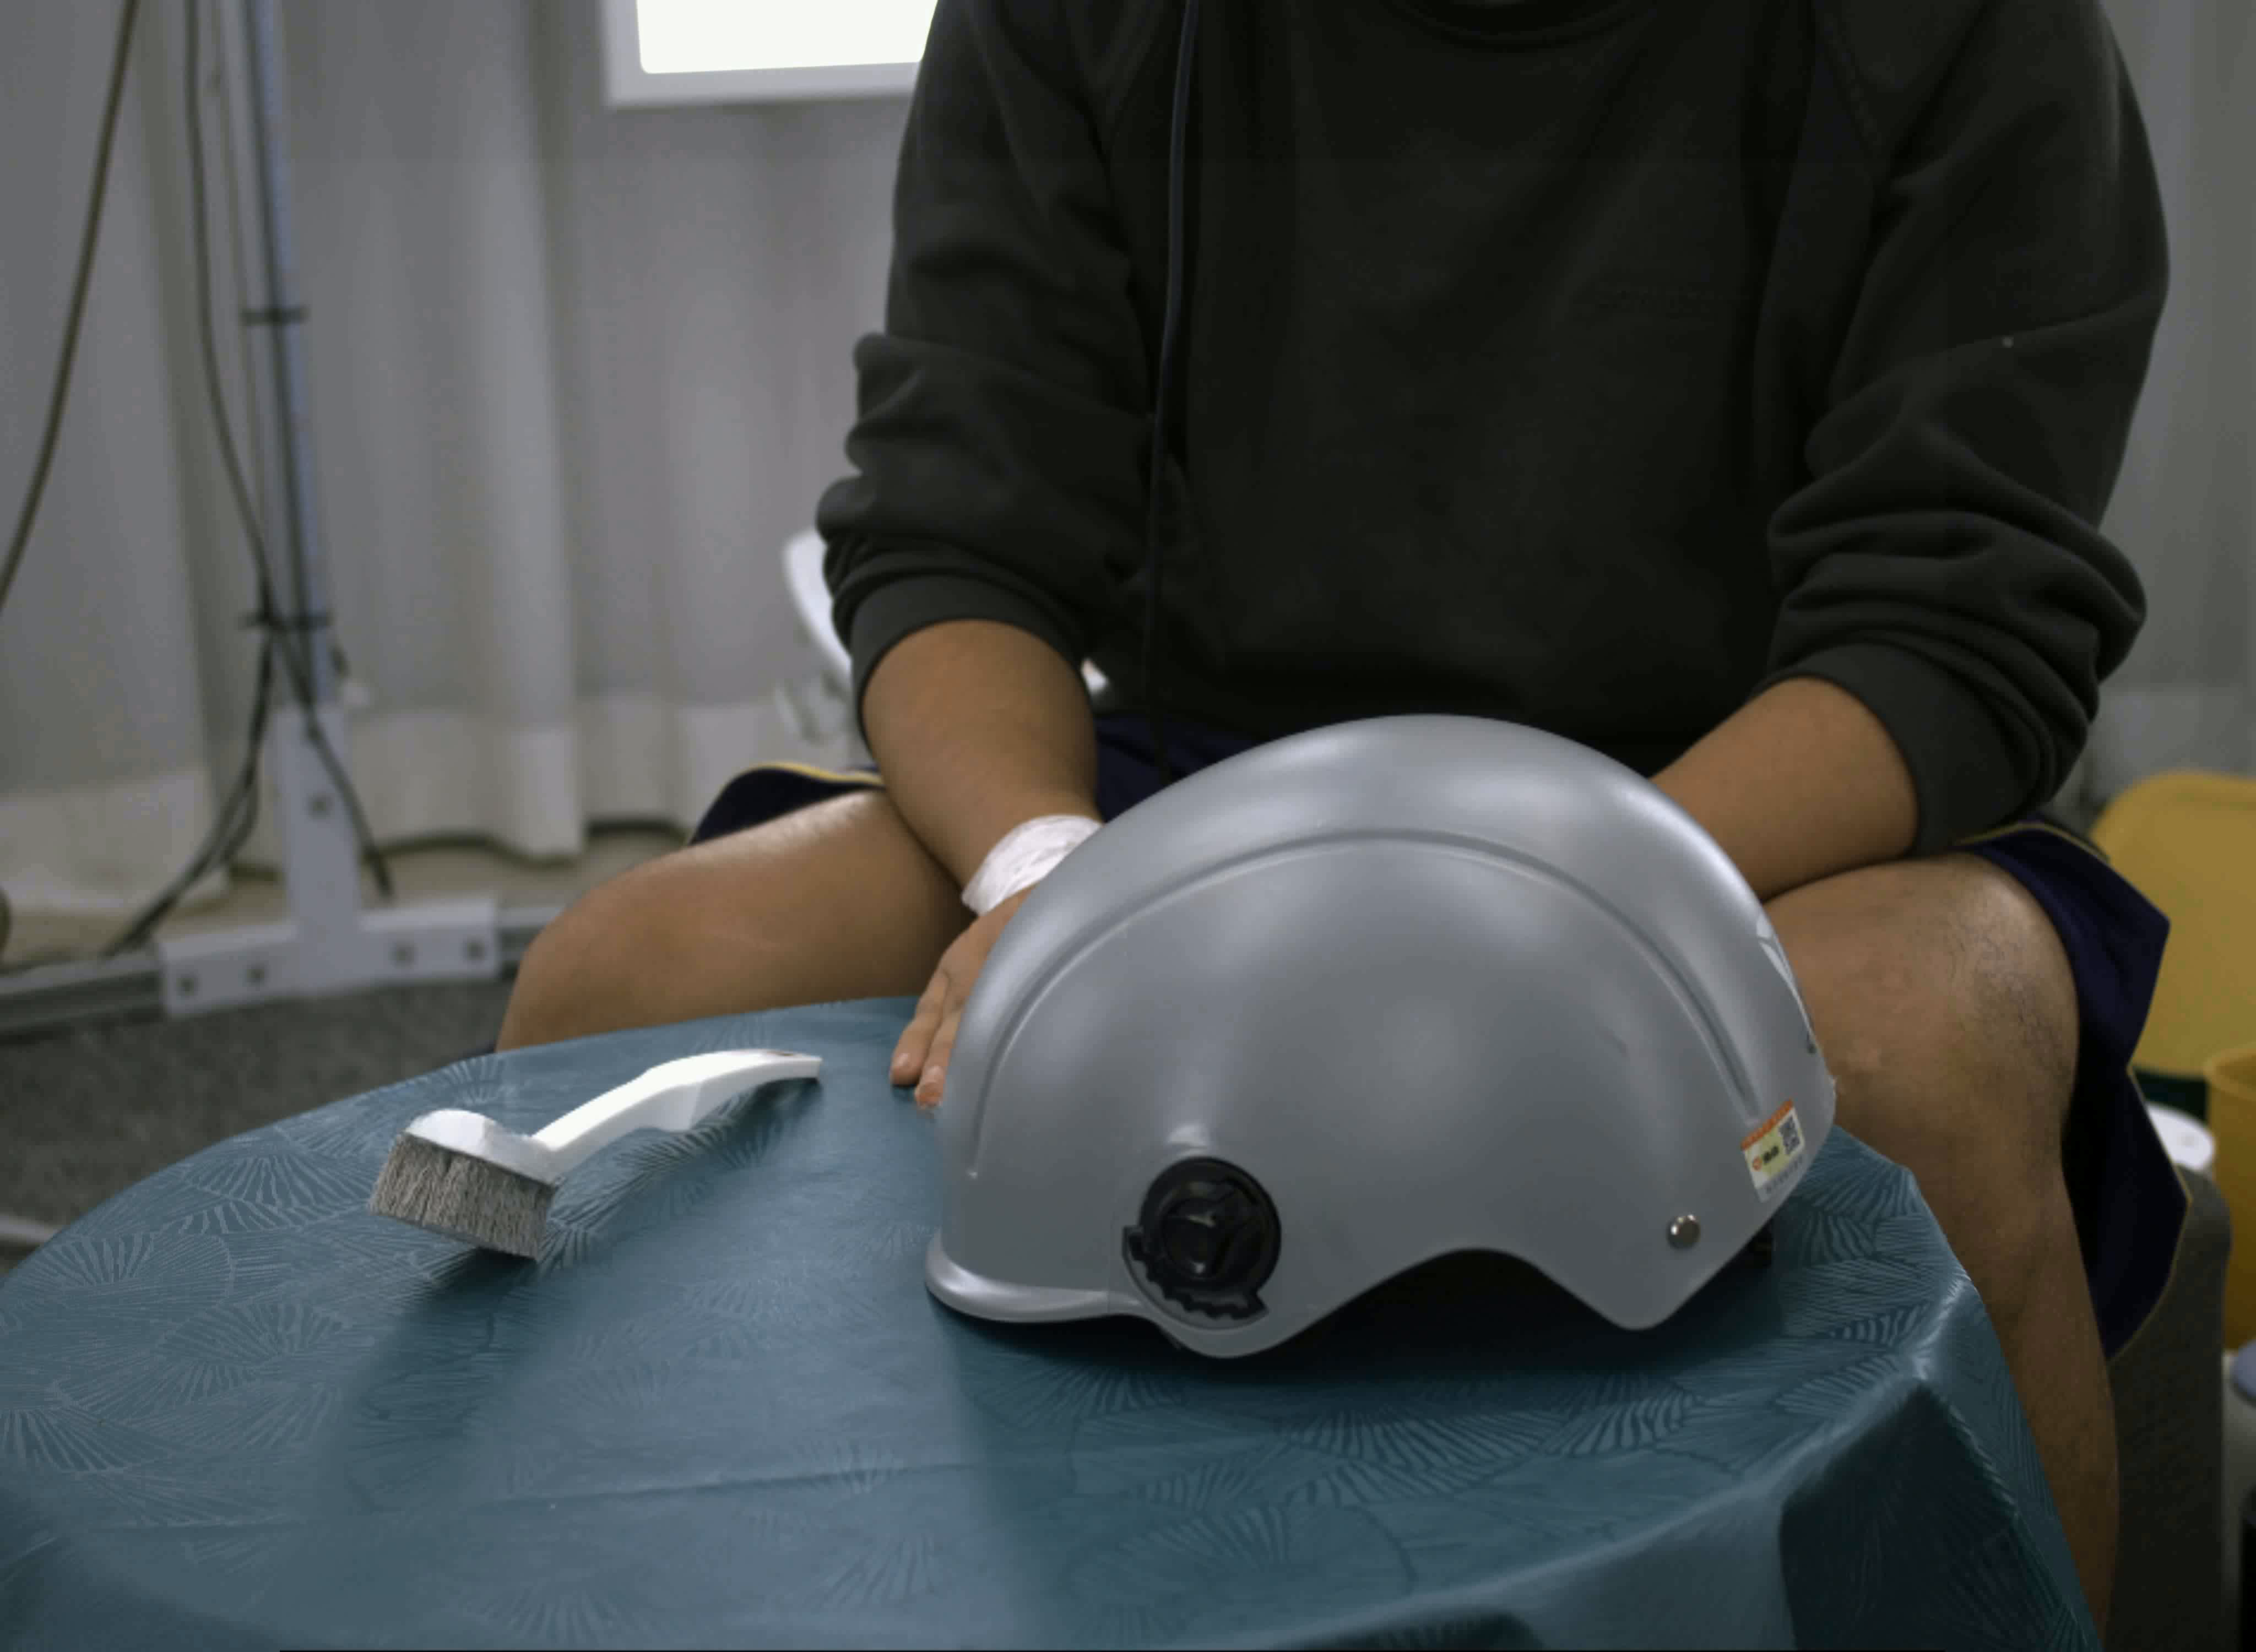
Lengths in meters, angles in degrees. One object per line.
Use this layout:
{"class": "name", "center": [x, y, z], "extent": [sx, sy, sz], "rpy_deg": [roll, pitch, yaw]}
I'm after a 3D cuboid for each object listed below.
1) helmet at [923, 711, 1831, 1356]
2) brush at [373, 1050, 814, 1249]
{"class": "helmet", "center": [0.068, 0.052, 1.623], "extent": [0.276, 0.168, 0.233], "rpy_deg": [-2, 14, 11]}
{"class": "brush", "center": [-0.165, 0.103, 1.747], "extent": [0.034, 0.050, 0.243], "rpy_deg": [7, 5, 24]}
